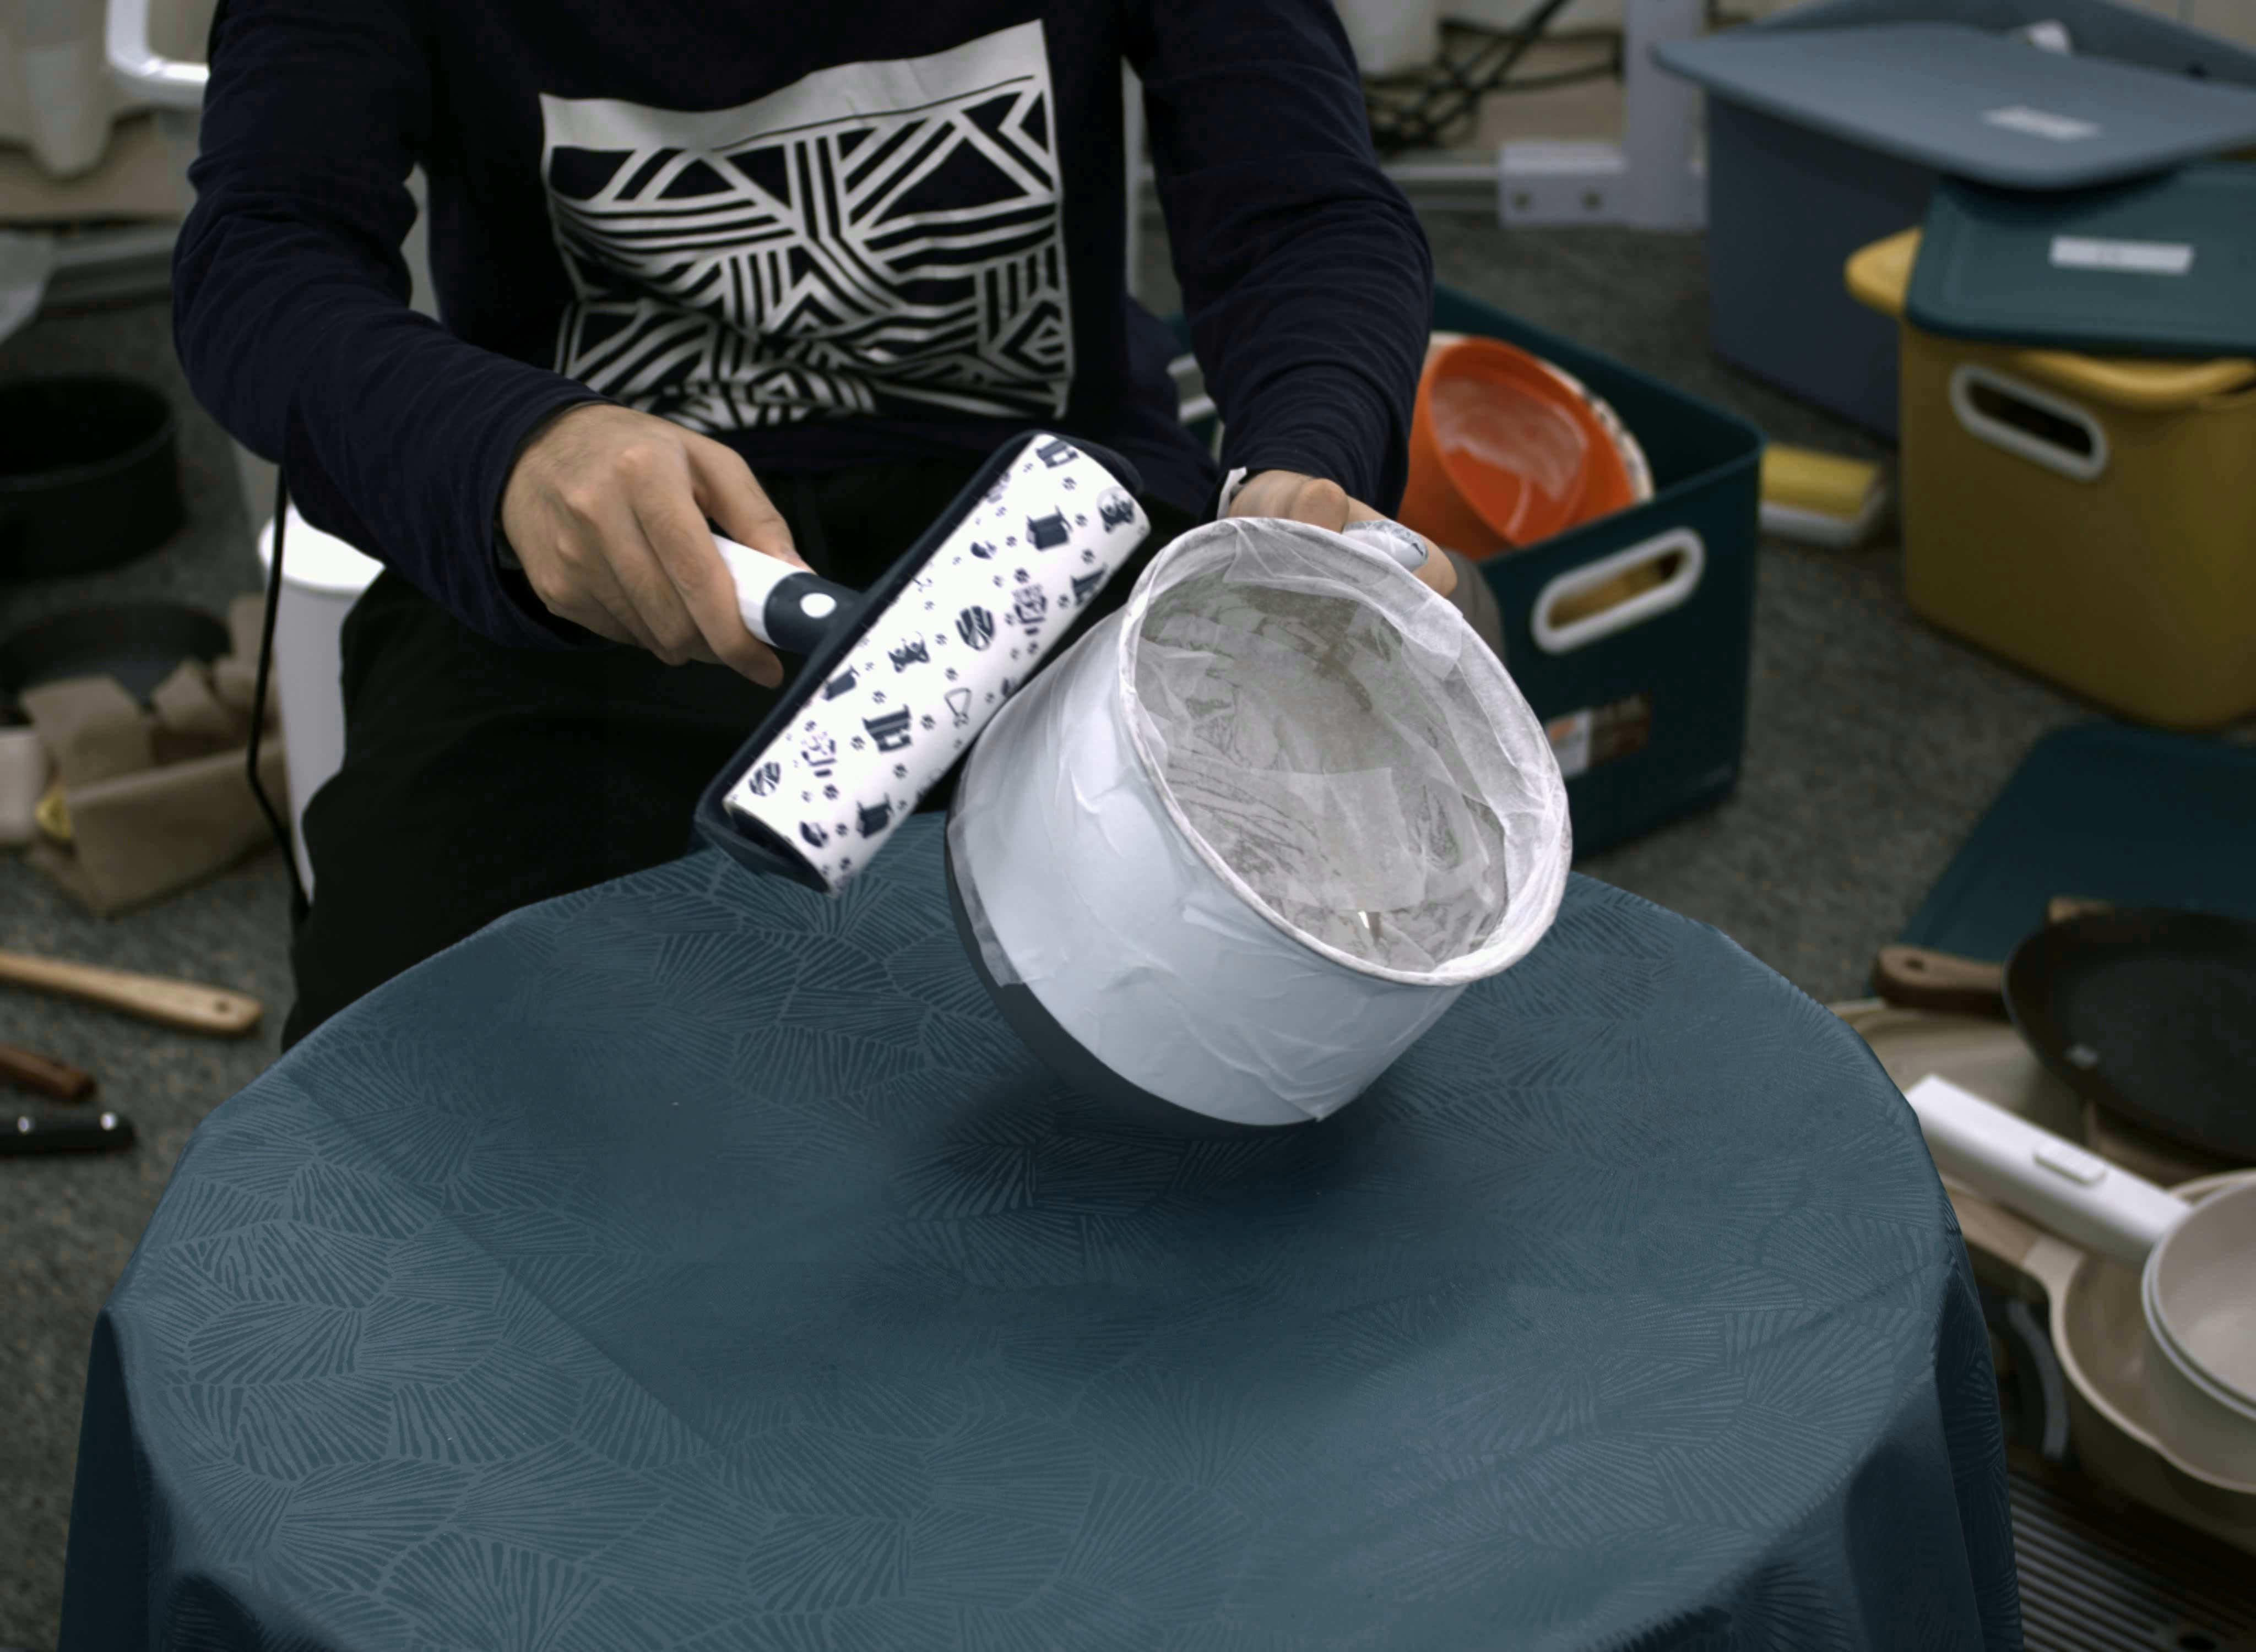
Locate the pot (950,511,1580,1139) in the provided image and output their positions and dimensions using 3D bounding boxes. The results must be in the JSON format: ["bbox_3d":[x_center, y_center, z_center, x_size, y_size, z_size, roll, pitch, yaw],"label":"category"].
[{"bbox_3d":[0.046,-0.016,1.873,0.178,0.134,0.238,34,45,-17],"label":"pot"}]

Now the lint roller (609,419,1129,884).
[{"bbox_3d":[-0.118,-0.074,1.888,0.178,0.050,0.246,-51,33,-14],"label":"lint roller"}]
